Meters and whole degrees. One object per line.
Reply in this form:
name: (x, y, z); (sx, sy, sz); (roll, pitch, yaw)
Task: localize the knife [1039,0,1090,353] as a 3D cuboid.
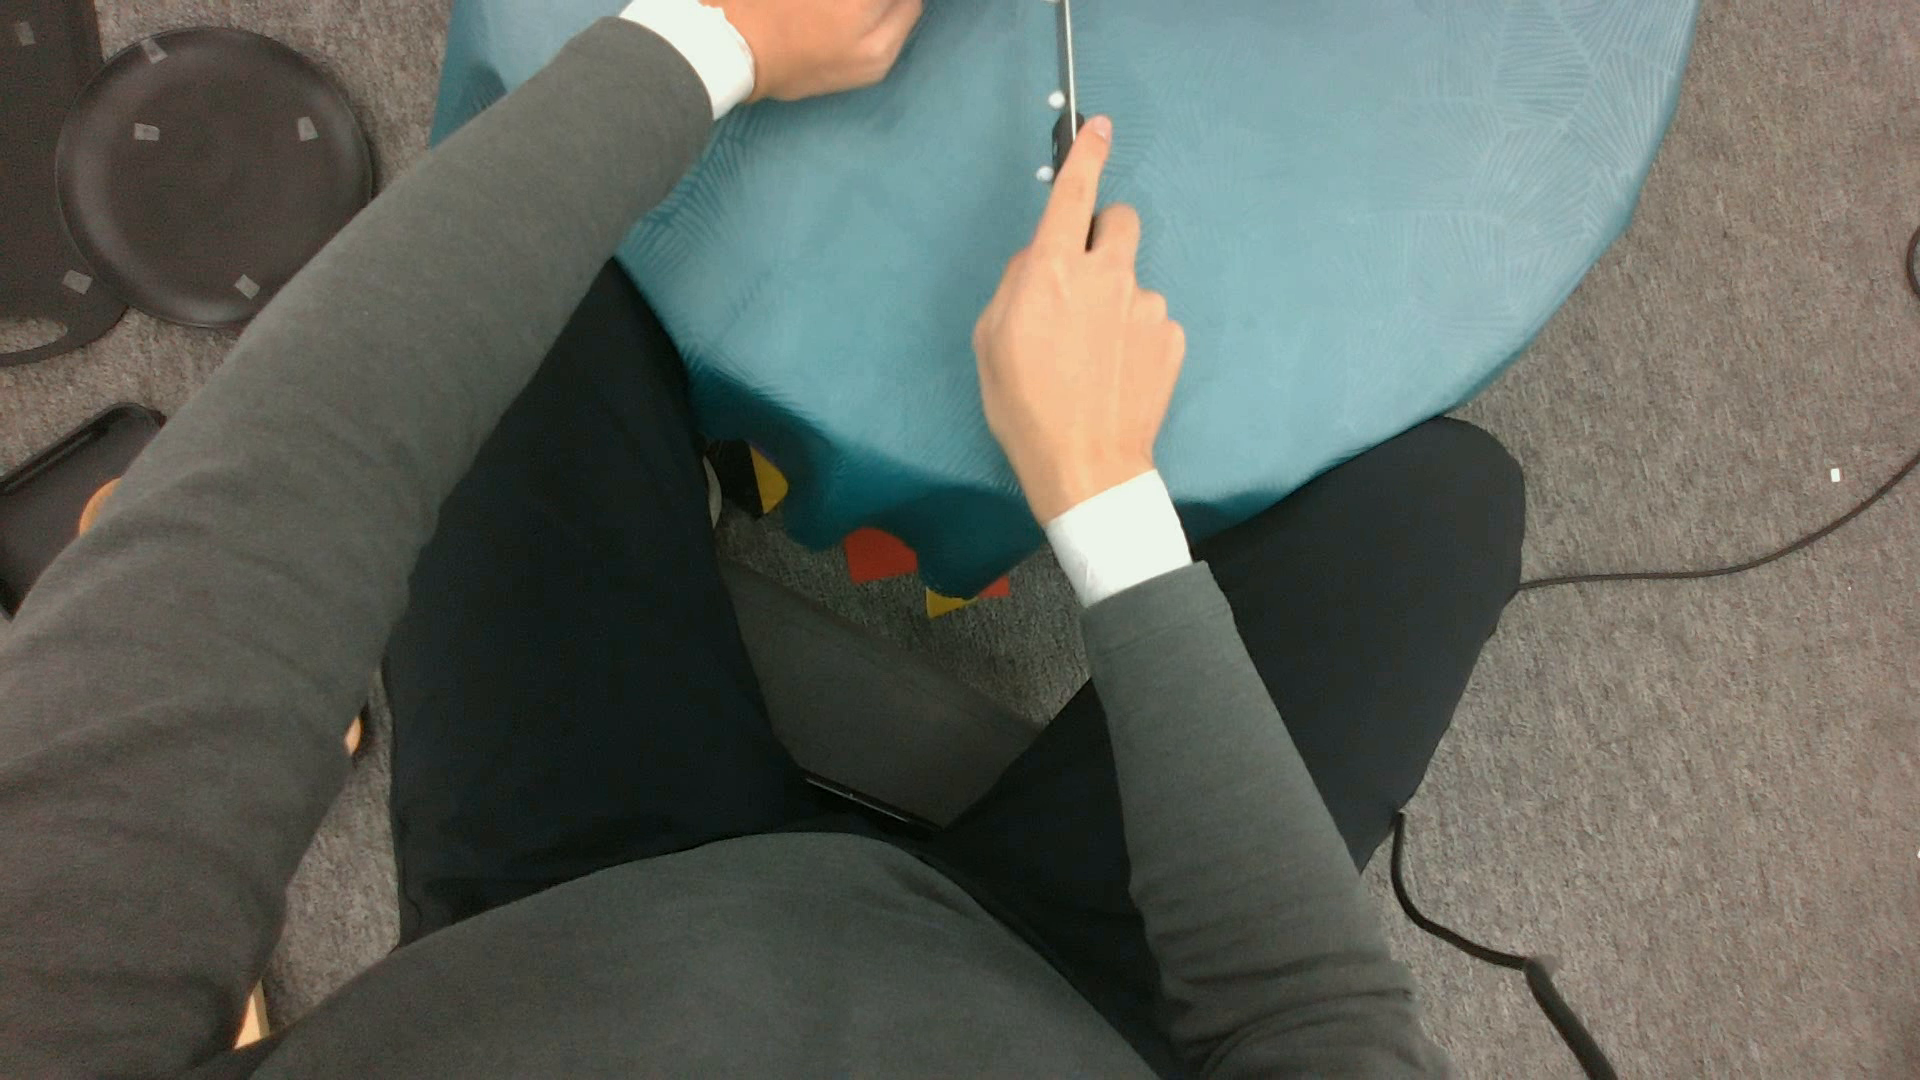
knife: (0.042, -0.202, 0.614); (0.016, 0.024, 0.238); (-3, 84, -6)
